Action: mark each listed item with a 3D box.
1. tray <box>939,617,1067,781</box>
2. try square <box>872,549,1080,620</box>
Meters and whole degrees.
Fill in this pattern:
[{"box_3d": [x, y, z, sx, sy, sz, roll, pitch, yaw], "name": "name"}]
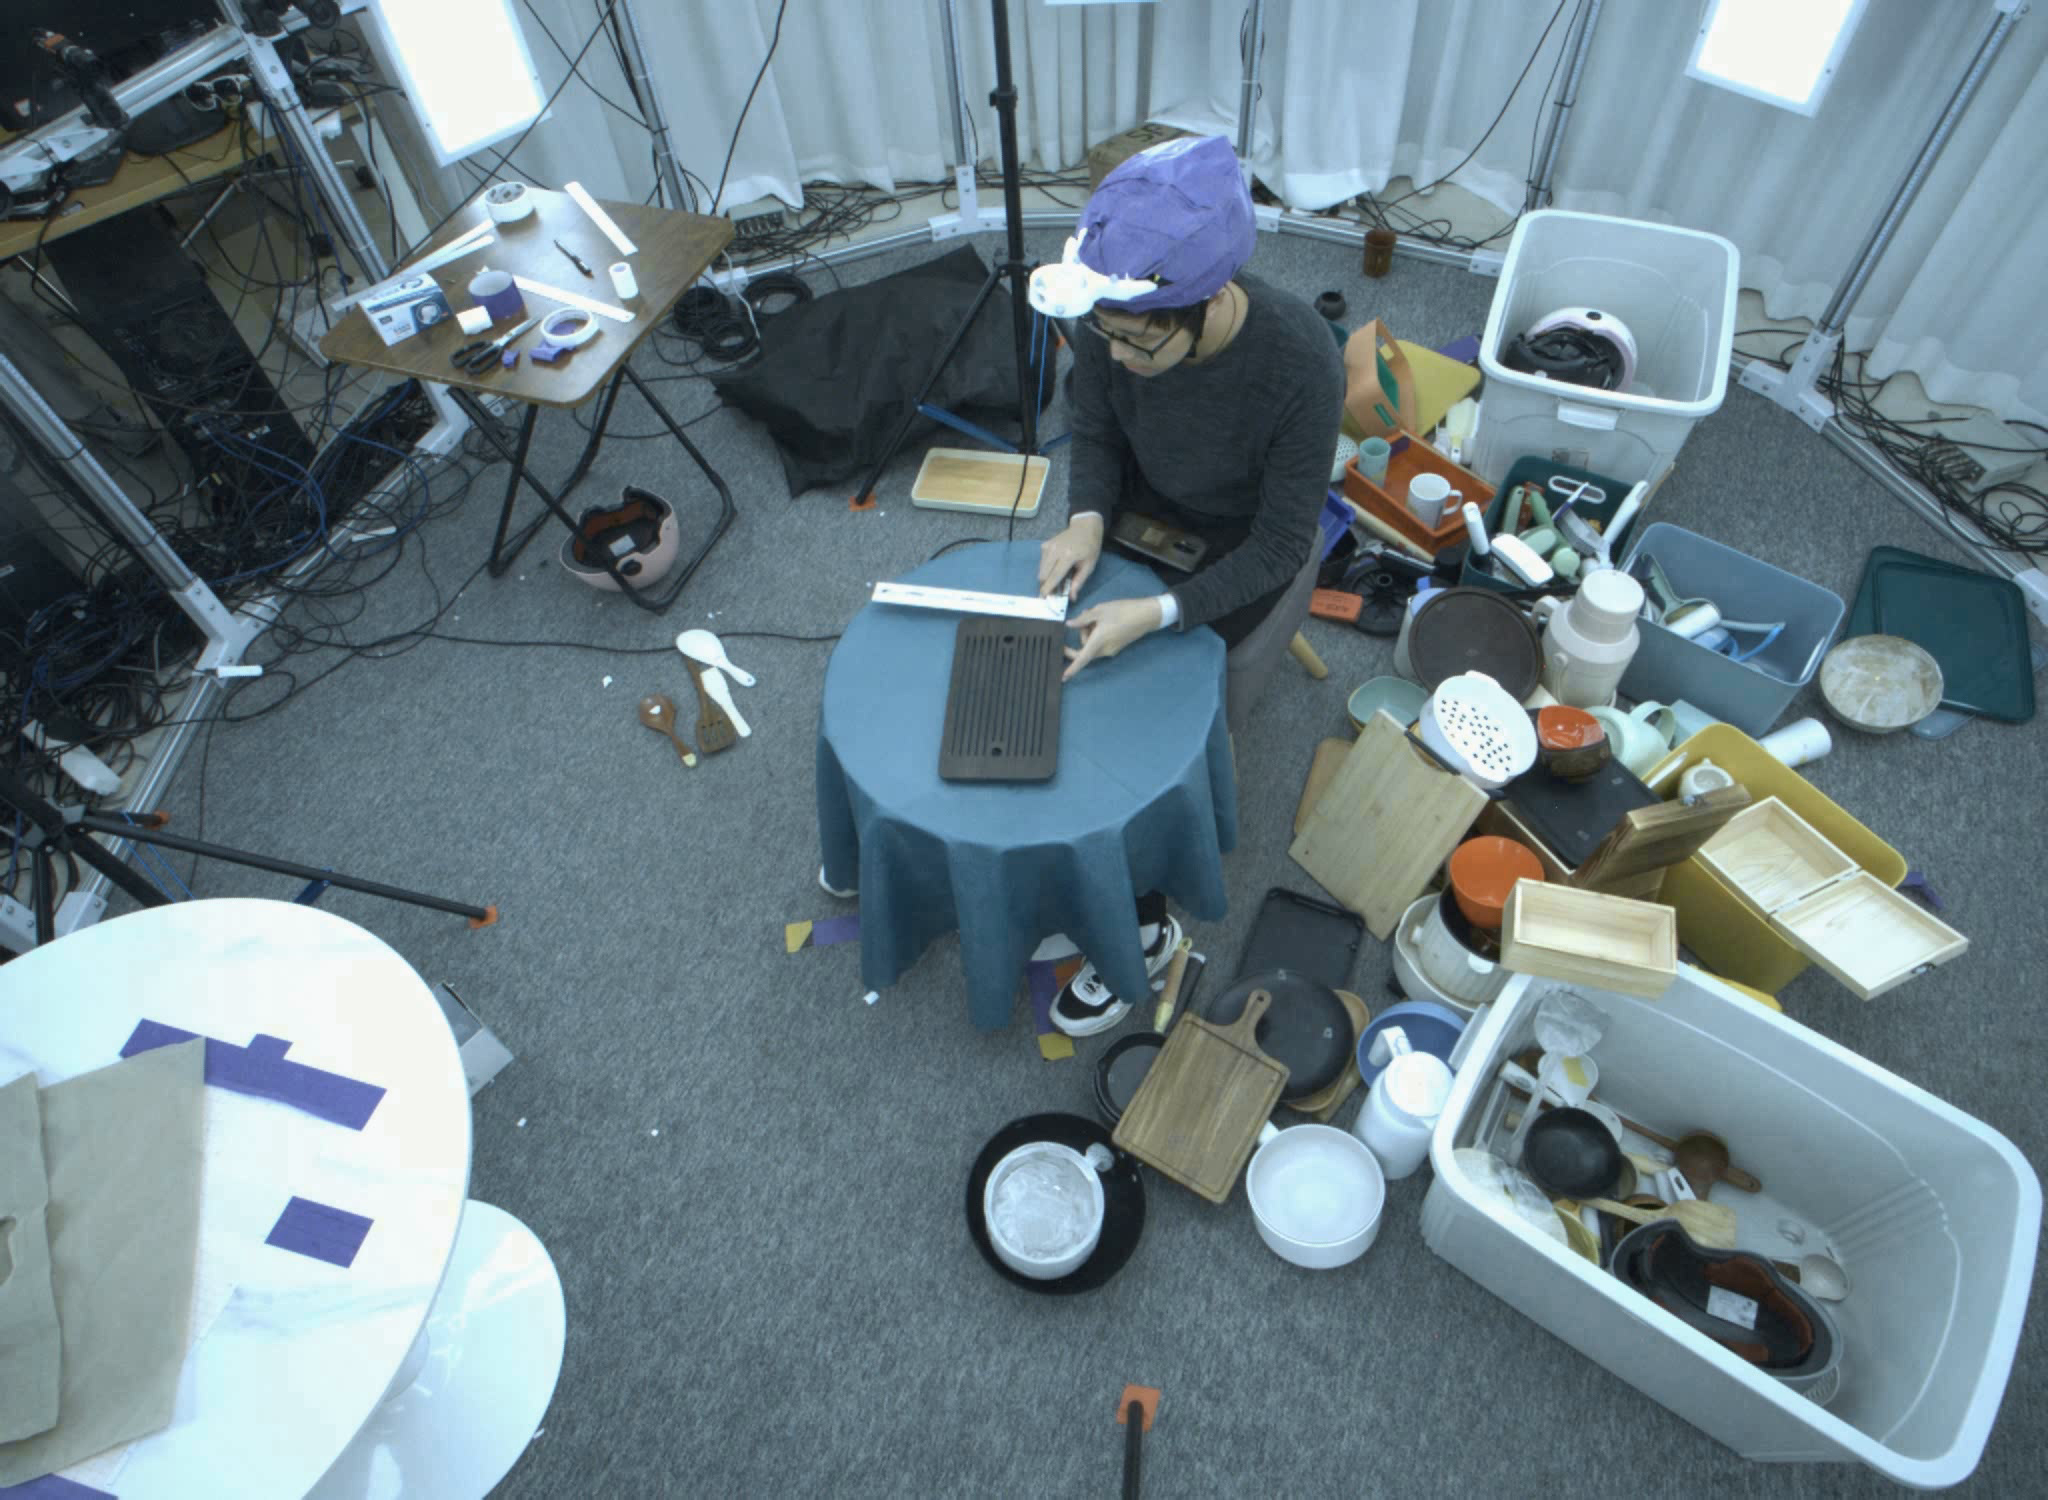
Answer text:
[{"box_3d": [-0.027, -0.080, 1.831, 0.169, 0.019, 0.303, 1, 55, 5], "name": "tray"}, {"box_3d": [-0.075, -0.278, 1.959, 0.311, 0.016, 0.151, 7, 54, 6], "name": "try square"}]
